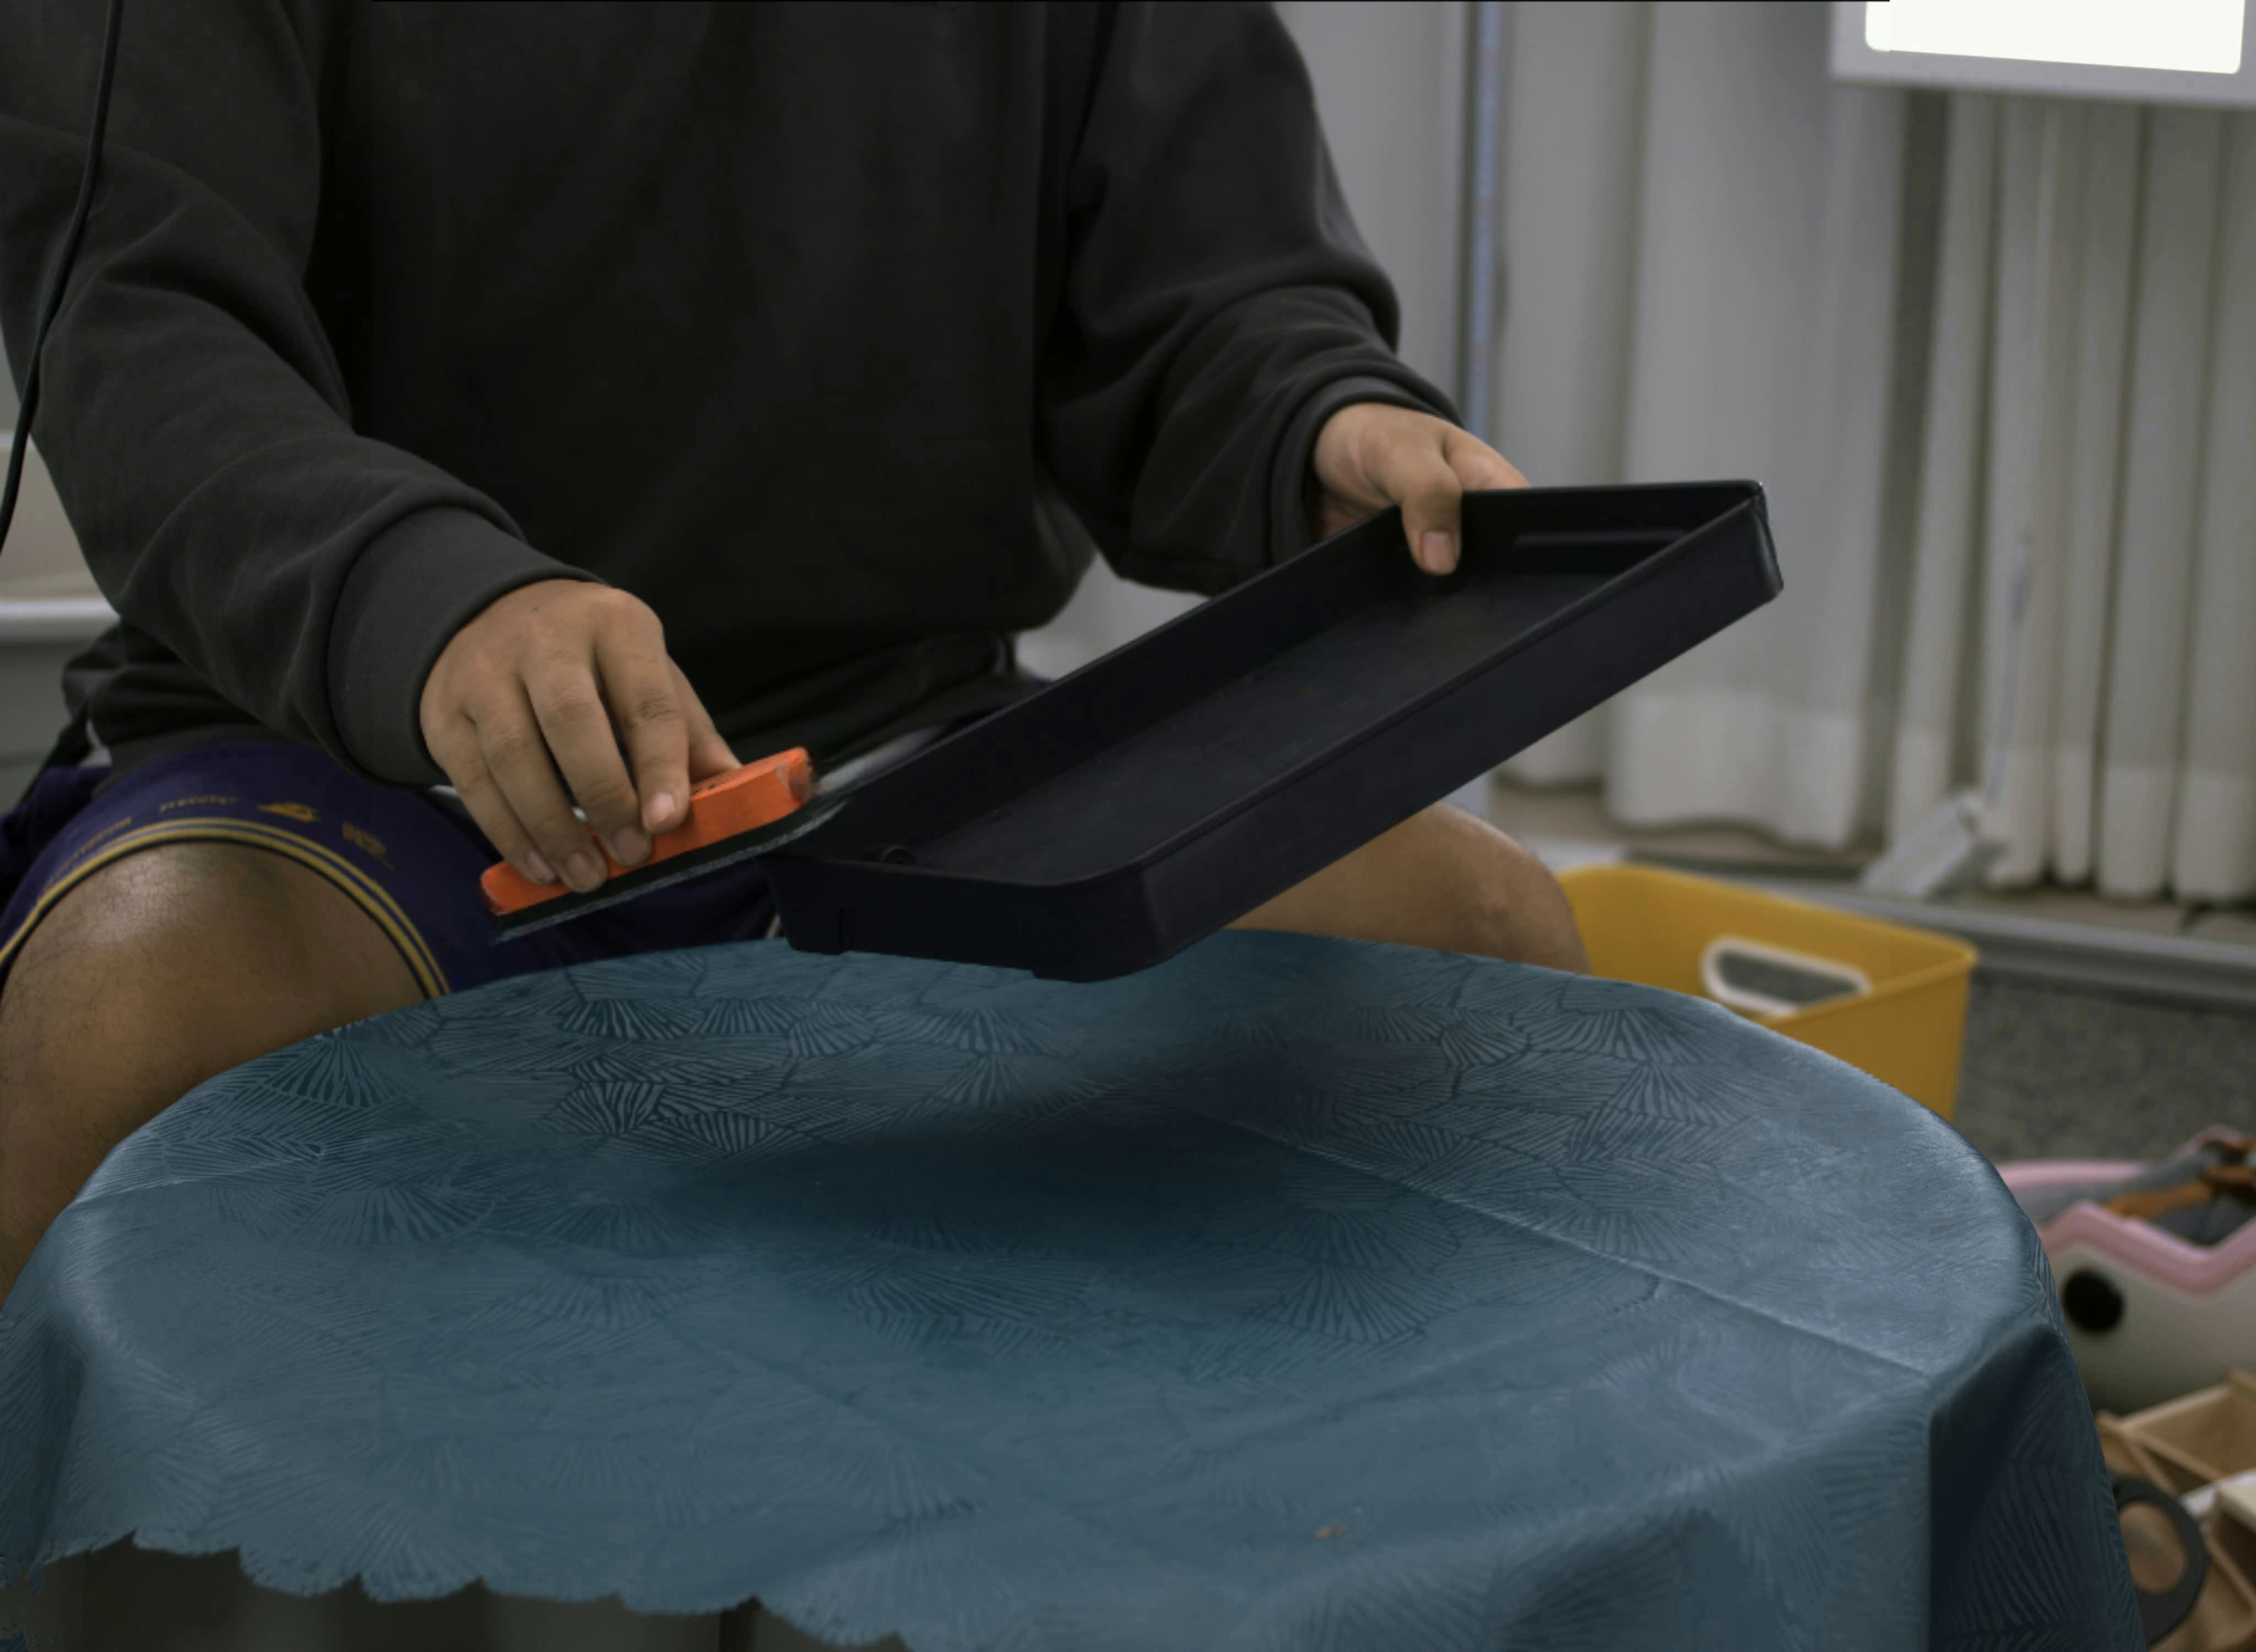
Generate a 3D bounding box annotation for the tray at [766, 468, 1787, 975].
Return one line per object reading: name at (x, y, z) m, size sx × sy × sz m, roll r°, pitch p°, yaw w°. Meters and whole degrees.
tray at (0.052, -0.037, 1.676) m, size 0.318 × 0.037 × 0.182 m, roll -31°, pitch 20°, yaw -36°

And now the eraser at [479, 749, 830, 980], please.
eraser at (-0.145, 0.011, 1.614) m, size 0.108 × 0.023 × 0.059 m, roll -25°, pitch 8°, yaw 4°
